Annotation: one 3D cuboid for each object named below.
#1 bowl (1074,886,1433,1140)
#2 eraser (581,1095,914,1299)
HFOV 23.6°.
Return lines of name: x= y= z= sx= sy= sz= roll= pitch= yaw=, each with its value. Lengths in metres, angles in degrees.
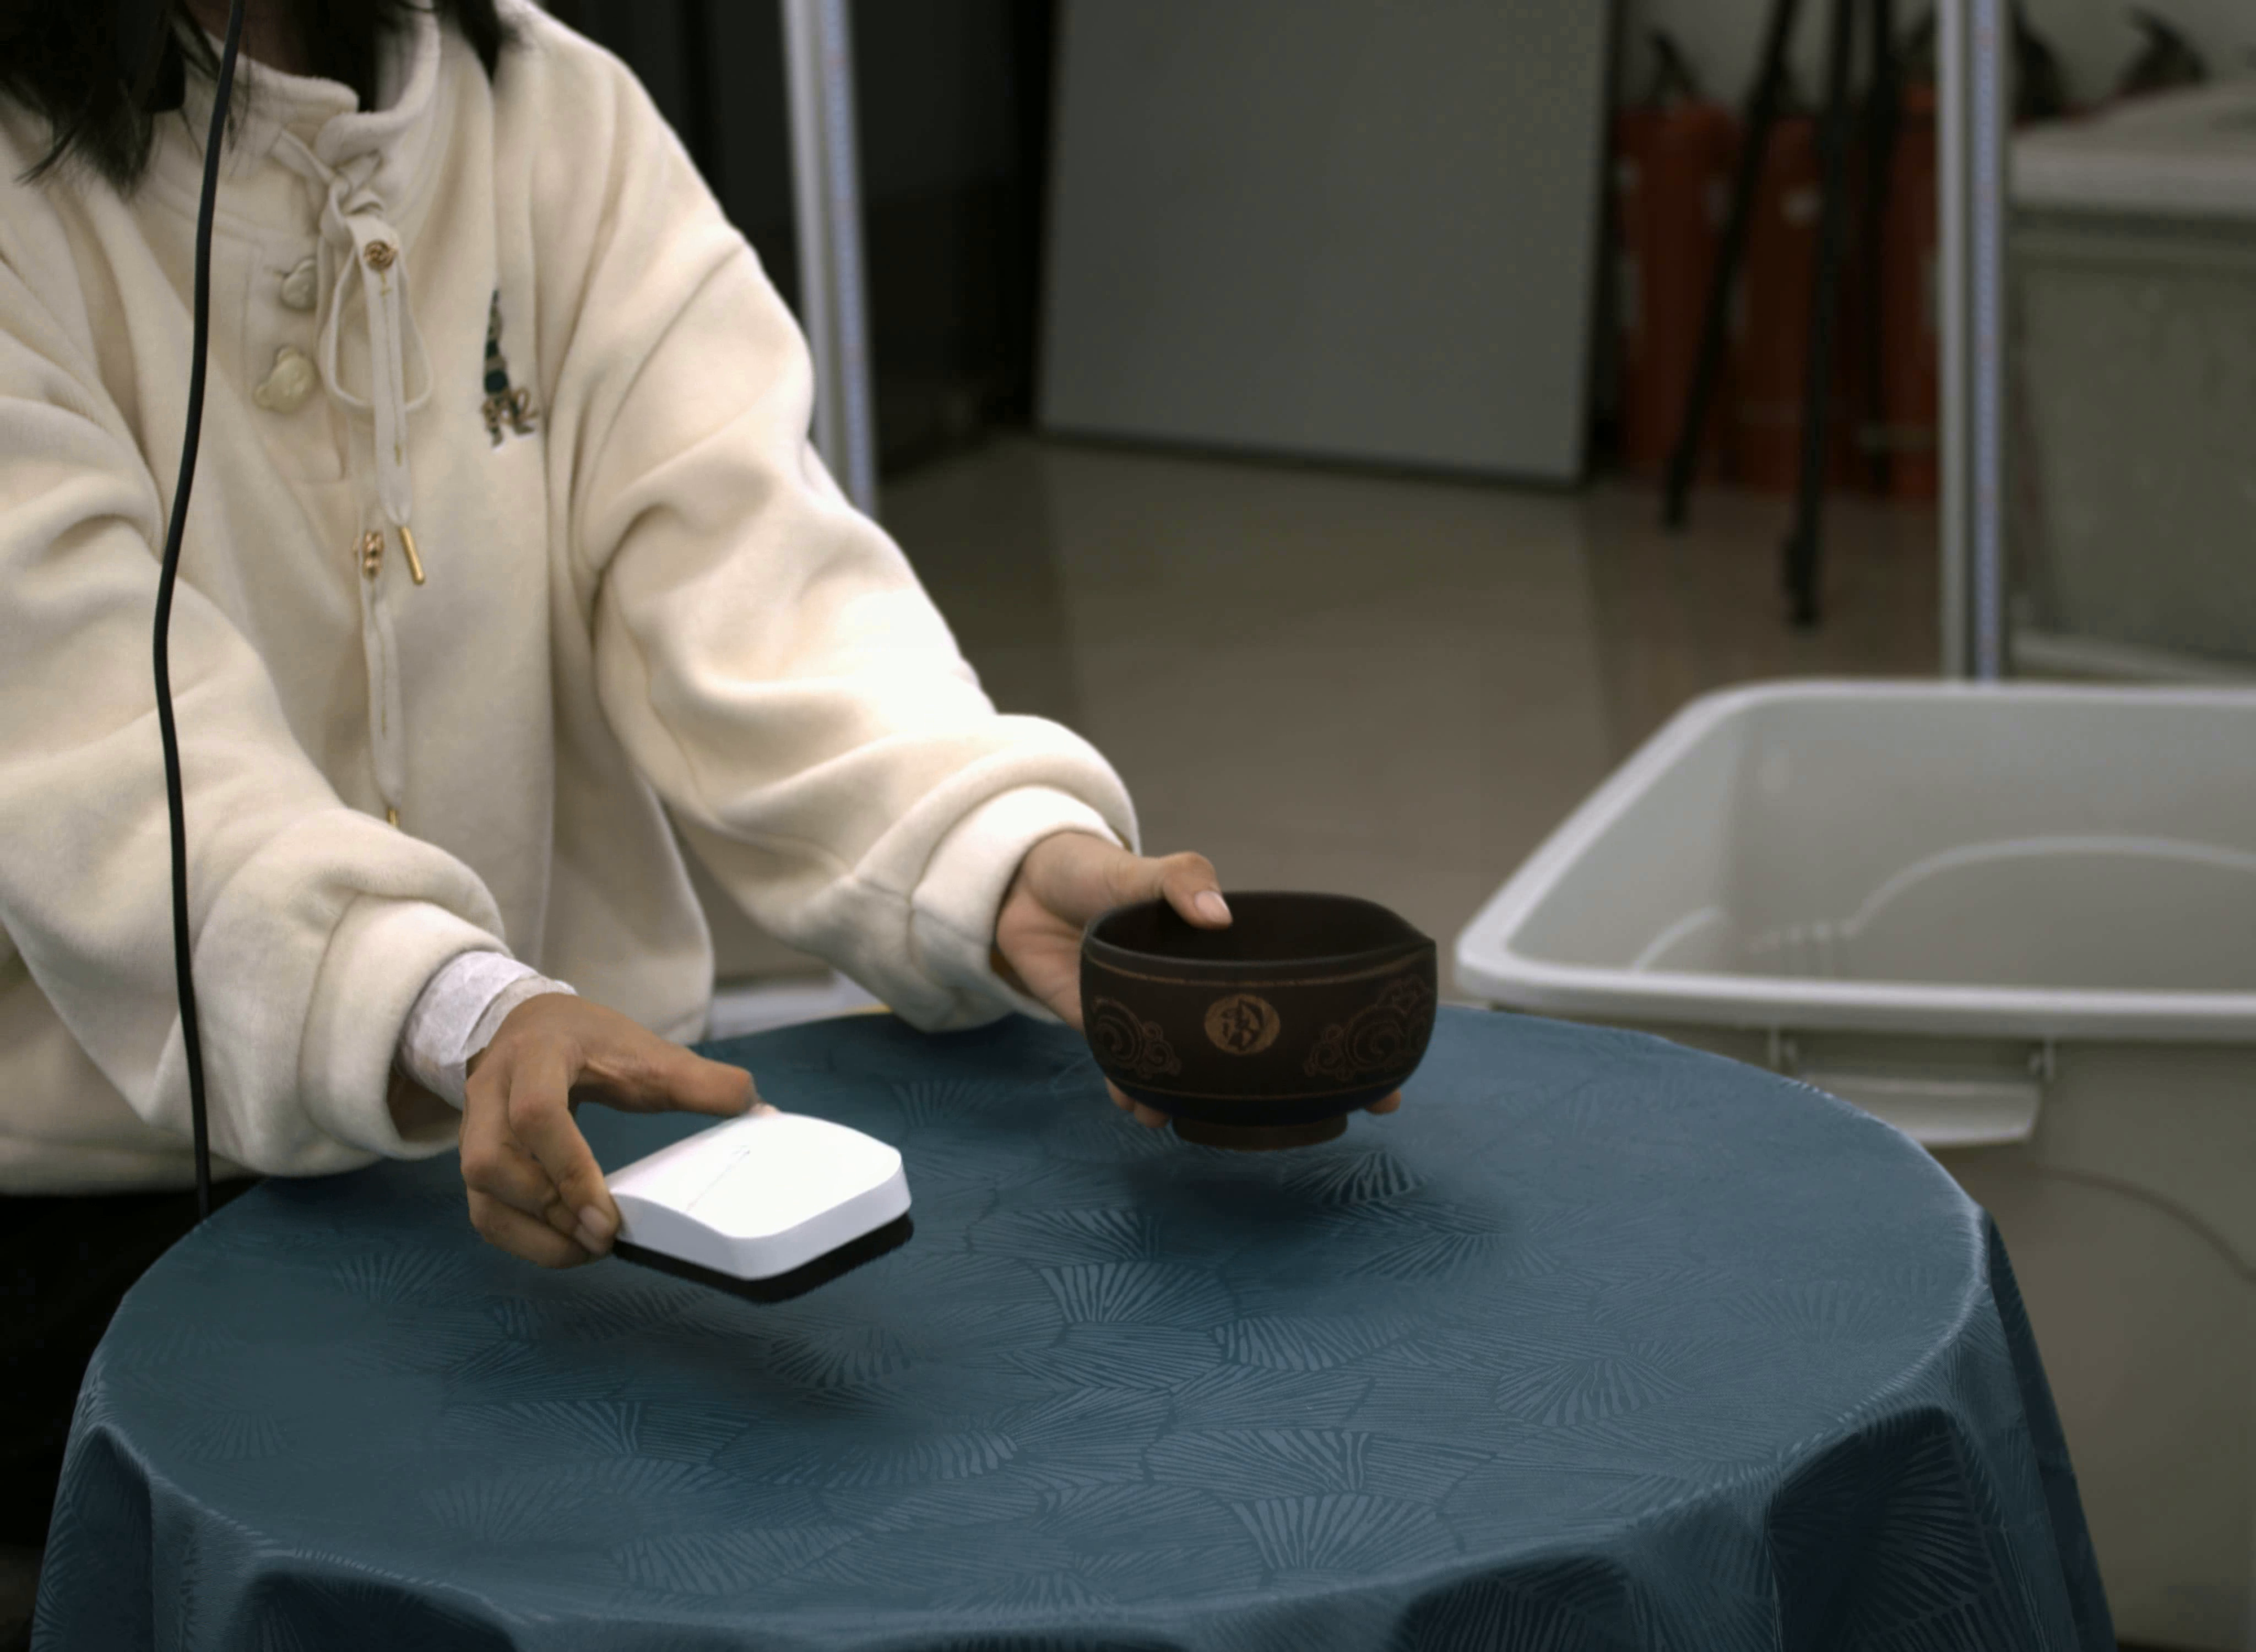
bowl: x=0.041 y=0.062 z=1.745 sx=0.116 sy=0.071 sz=0.118 roll=-2 pitch=7 yaw=-1
eraser: x=-0.113 y=0.110 z=1.622 sx=0.062 sy=0.035 sz=0.132 roll=-24 pitch=14 yaw=-25
